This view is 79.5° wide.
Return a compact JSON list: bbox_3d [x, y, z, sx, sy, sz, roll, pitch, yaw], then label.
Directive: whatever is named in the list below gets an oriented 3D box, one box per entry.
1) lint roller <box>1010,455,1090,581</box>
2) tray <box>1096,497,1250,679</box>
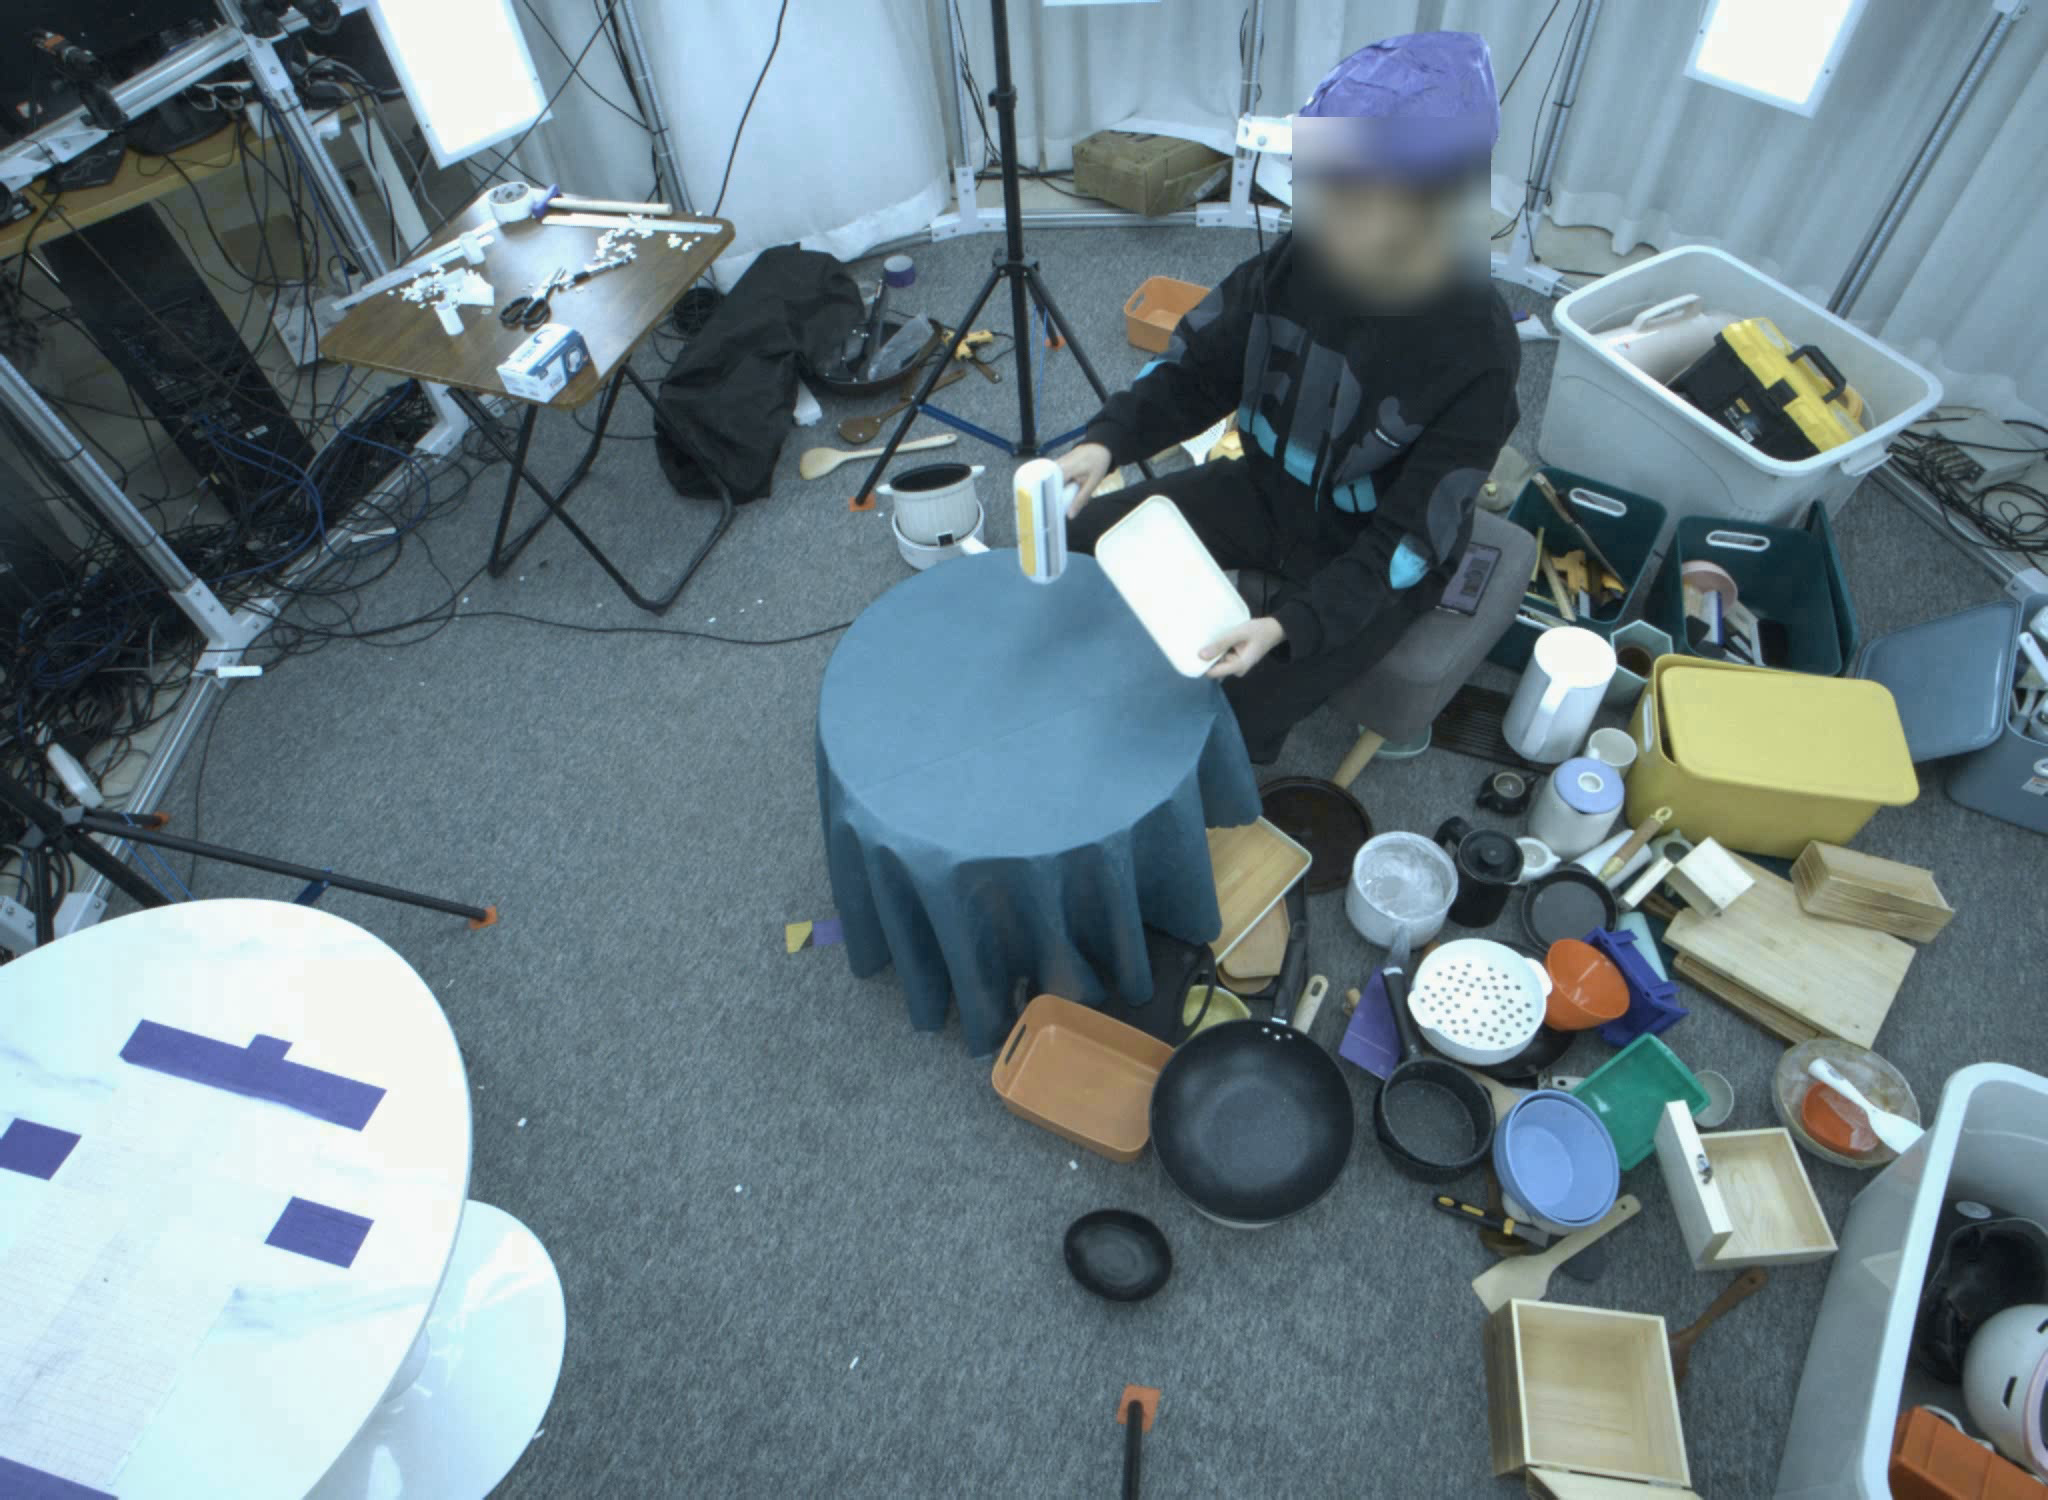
[{"bbox_3d":[0.051,-0.368,1.826,0.072,0.195,0.194,22,44,33],"label":"lint roller"},{"bbox_3d":[0.211,-0.228,1.732,0.172,0.017,0.241,-44,103,-31],"label":"tray"}]
